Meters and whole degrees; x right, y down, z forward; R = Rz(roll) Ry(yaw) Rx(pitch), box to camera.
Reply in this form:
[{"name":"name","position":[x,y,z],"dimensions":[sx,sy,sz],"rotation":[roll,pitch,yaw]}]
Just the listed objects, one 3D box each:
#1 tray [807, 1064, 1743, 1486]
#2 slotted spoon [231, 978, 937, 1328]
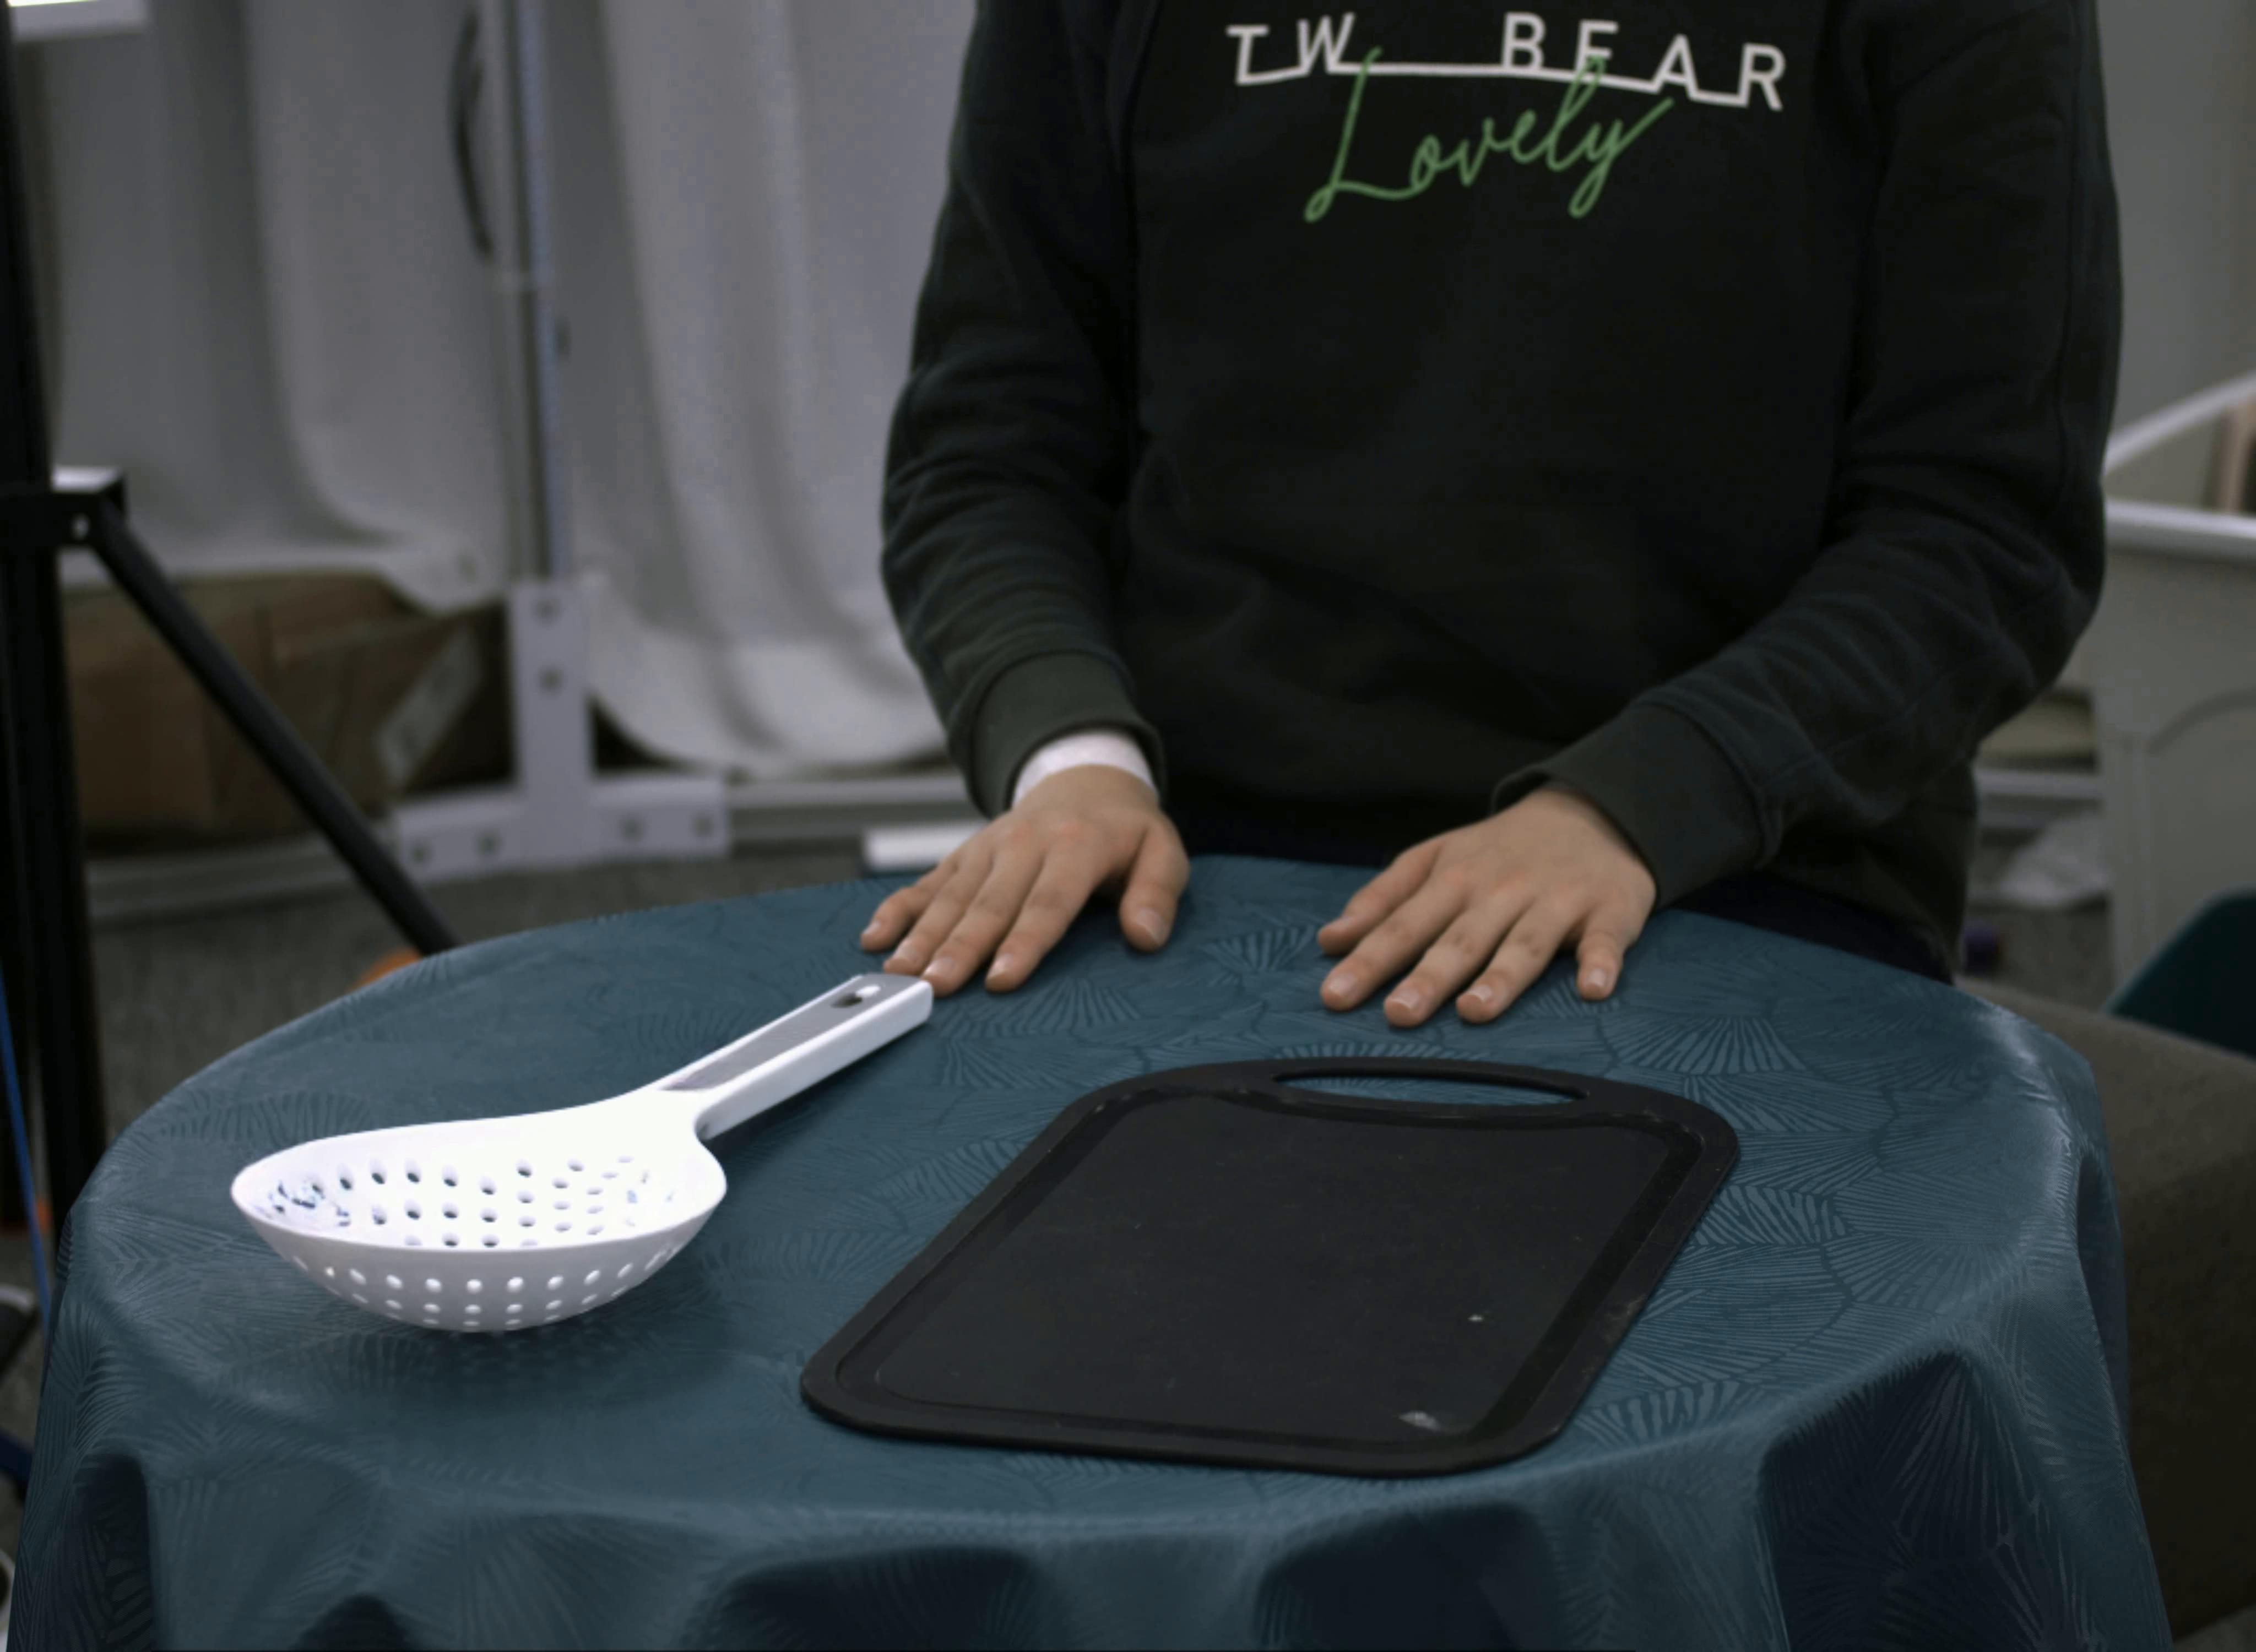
[{"name":"tray","position":[0.050,0.118,1.502],"dimensions":[0.213,0.010,0.322],"rotation":[3,16,19]},{"name":"slotted spoon","position":[-0.139,0.087,1.573],"dimensions":[0.138,0.046,0.345],"rotation":[6,17,22]}]
